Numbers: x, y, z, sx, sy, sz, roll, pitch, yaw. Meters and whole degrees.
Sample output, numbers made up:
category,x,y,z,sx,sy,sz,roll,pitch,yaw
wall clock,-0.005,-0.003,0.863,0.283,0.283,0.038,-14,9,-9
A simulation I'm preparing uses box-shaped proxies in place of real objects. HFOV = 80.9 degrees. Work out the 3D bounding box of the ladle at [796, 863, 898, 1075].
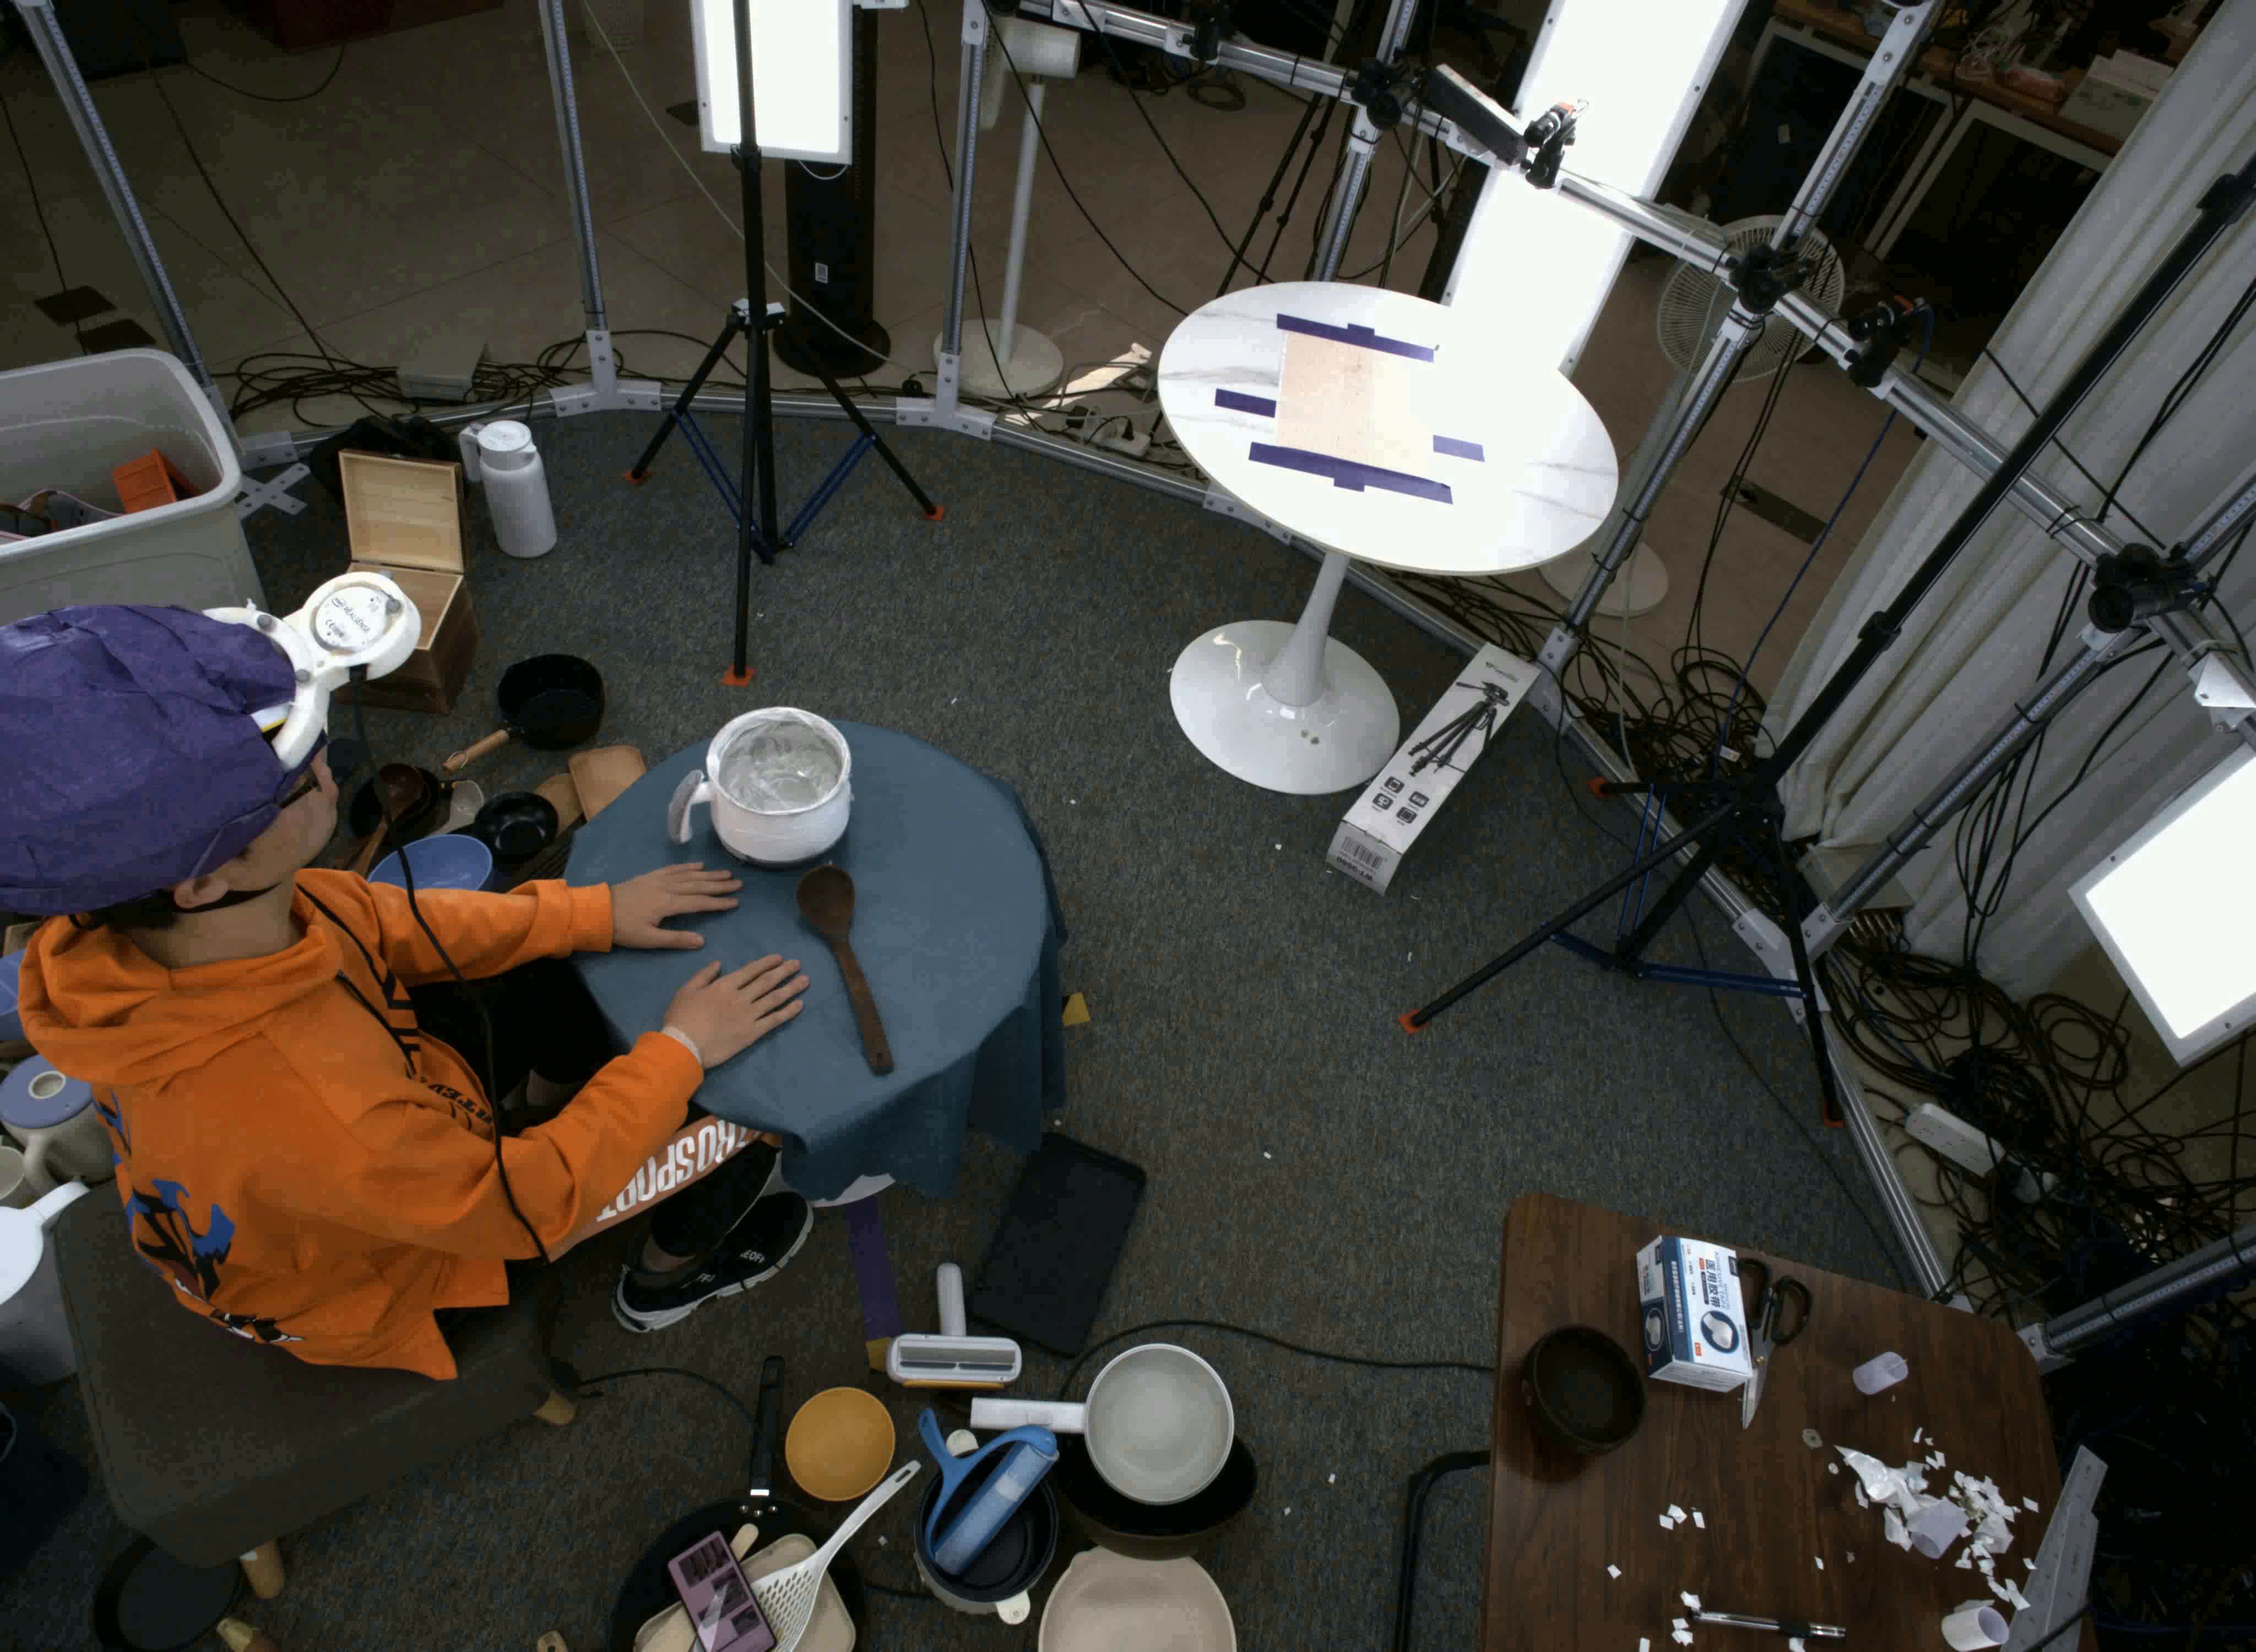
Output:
category,x,y,z,sx,sy,sz,roll,pitch,yaw
ladle,-0.333,0.165,1.569,0.076,0.073,0.267,-16,58,-21

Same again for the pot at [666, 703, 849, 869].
category,x,y,z,sx,sy,sz,roll,pitch,yaw
pot,-0.472,-0.040,1.642,0.235,0.139,0.174,-15,57,-24
